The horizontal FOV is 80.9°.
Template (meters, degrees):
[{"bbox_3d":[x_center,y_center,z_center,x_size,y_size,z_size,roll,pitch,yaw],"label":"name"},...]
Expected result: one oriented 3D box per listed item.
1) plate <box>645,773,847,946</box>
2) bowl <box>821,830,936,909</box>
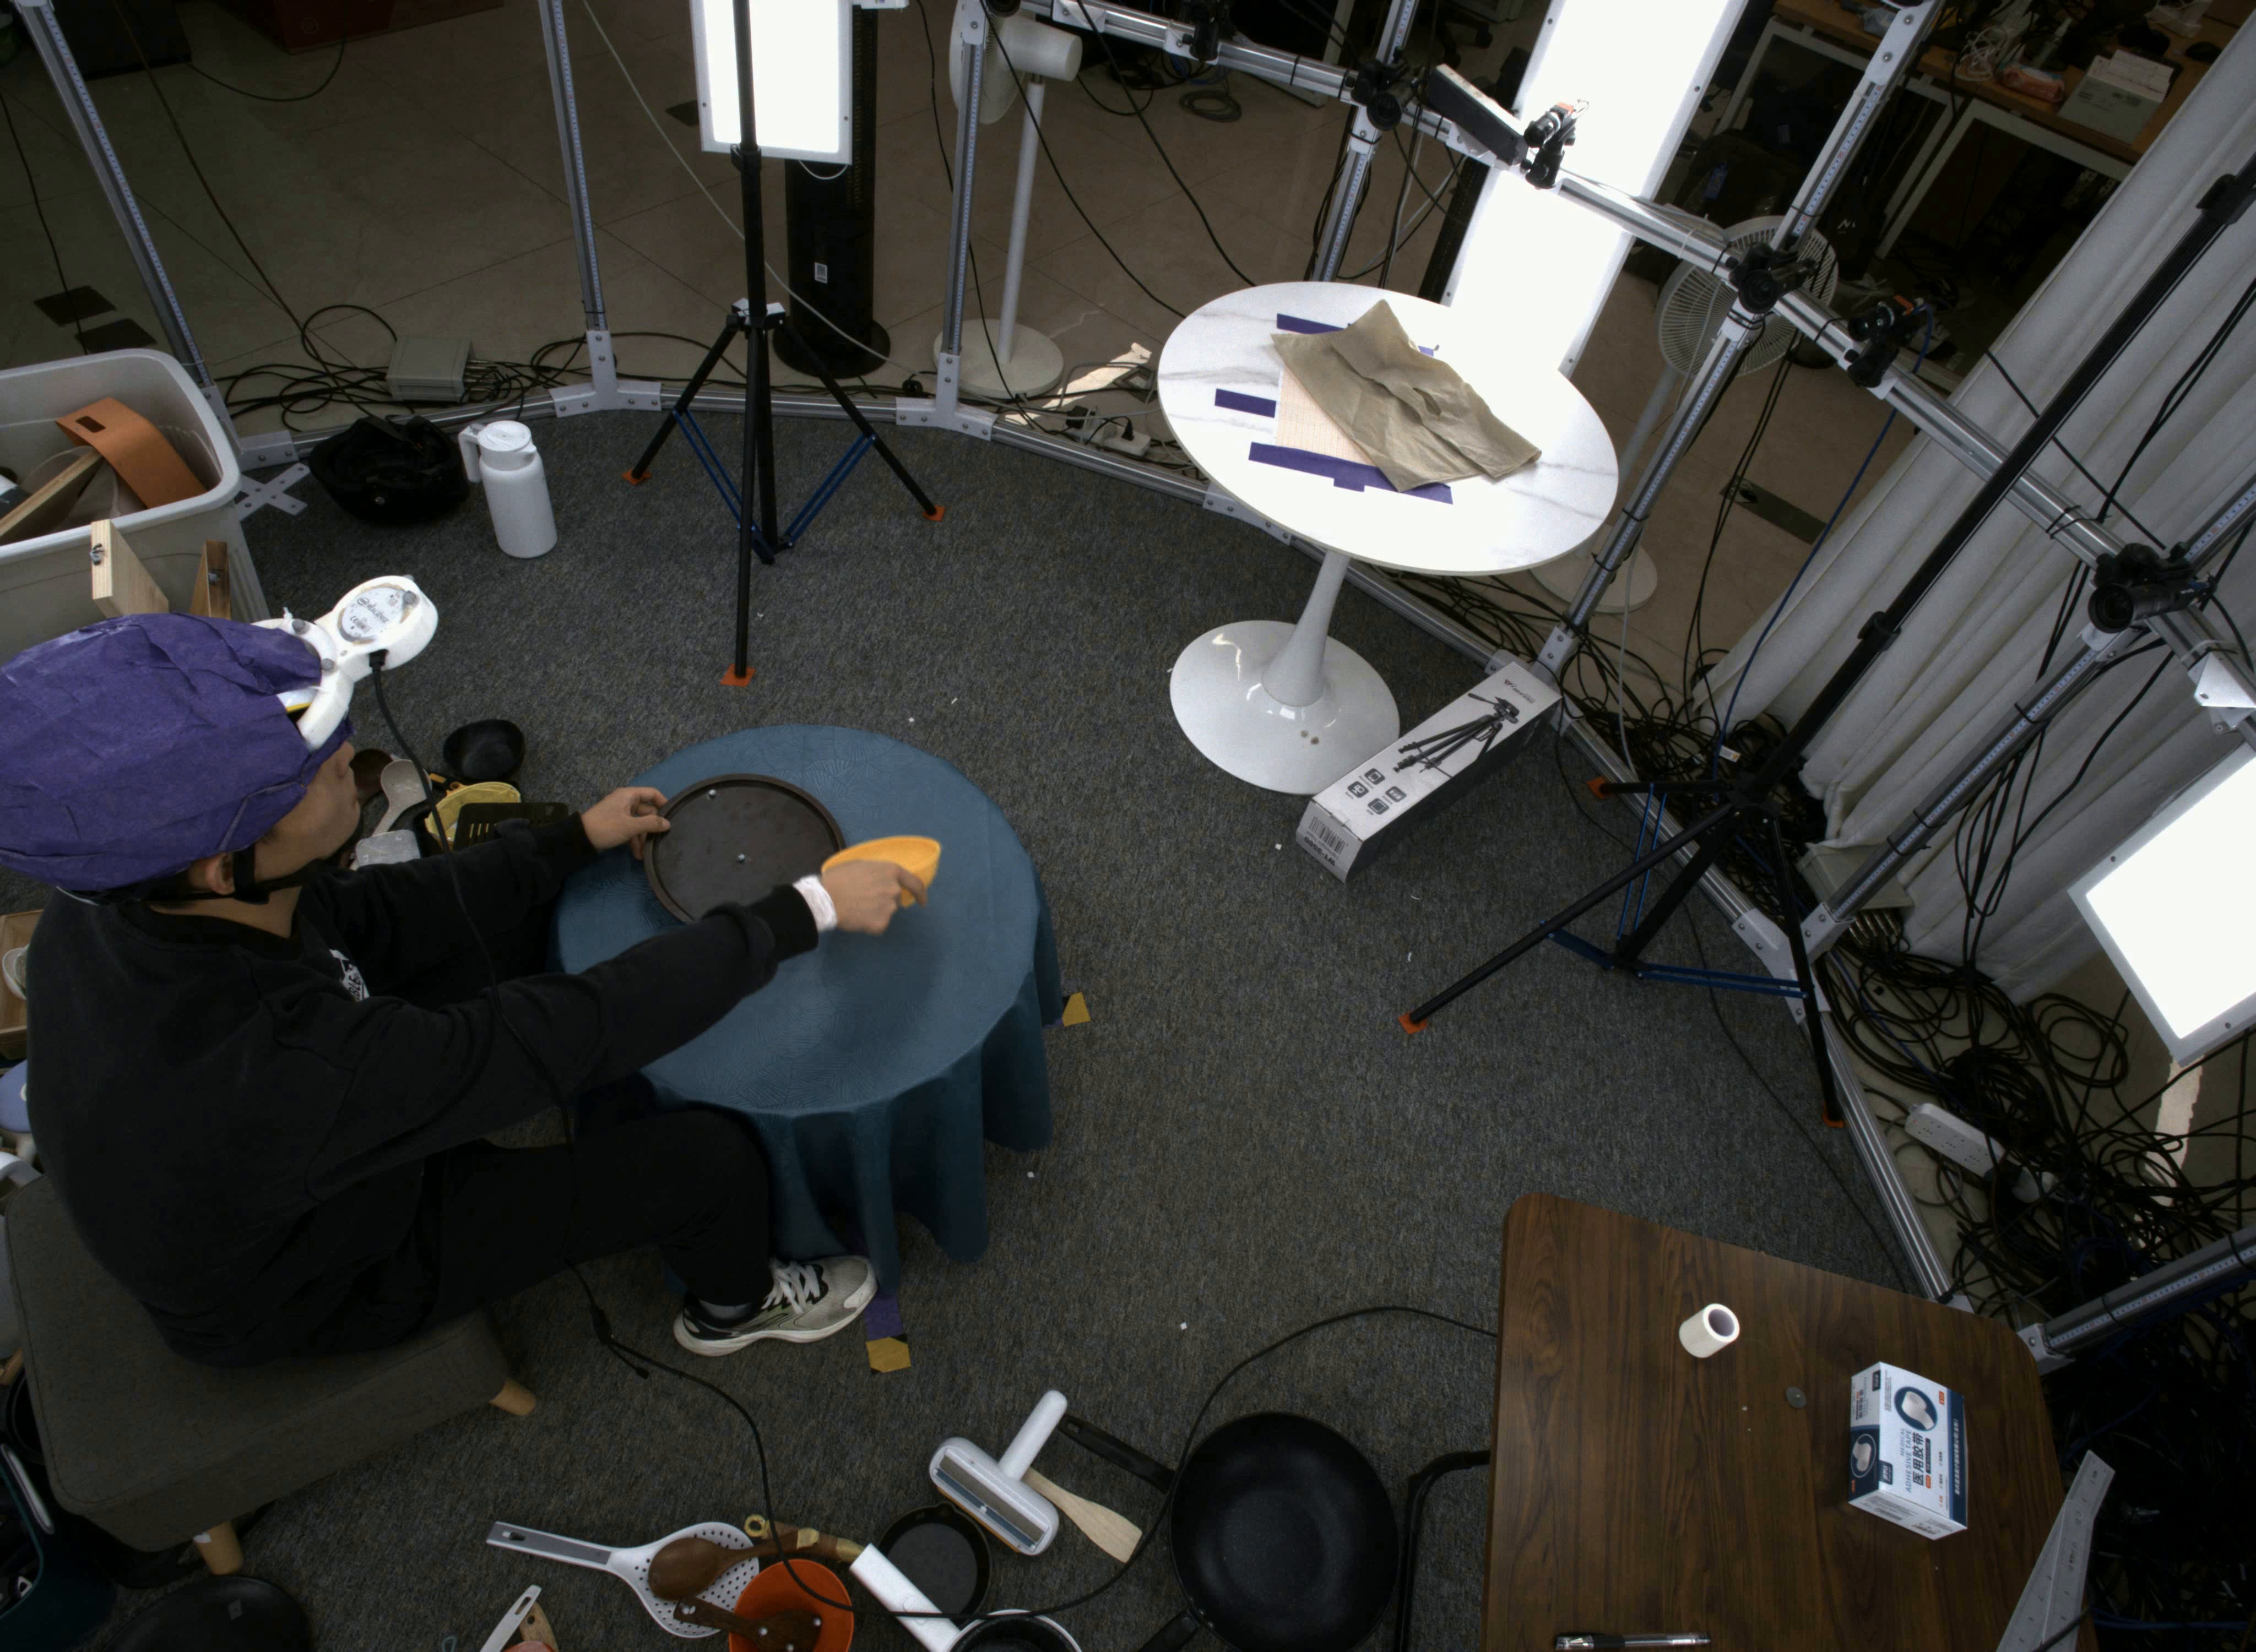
[{"bbox_3d":[-0.485,0.039,1.649,0.256,0.029,0.251,12,56,-16],"label":"plate"},{"bbox_3d":[-0.298,0.059,1.591,0.143,0.062,0.143,-9,22,5],"label":"bowl"}]
